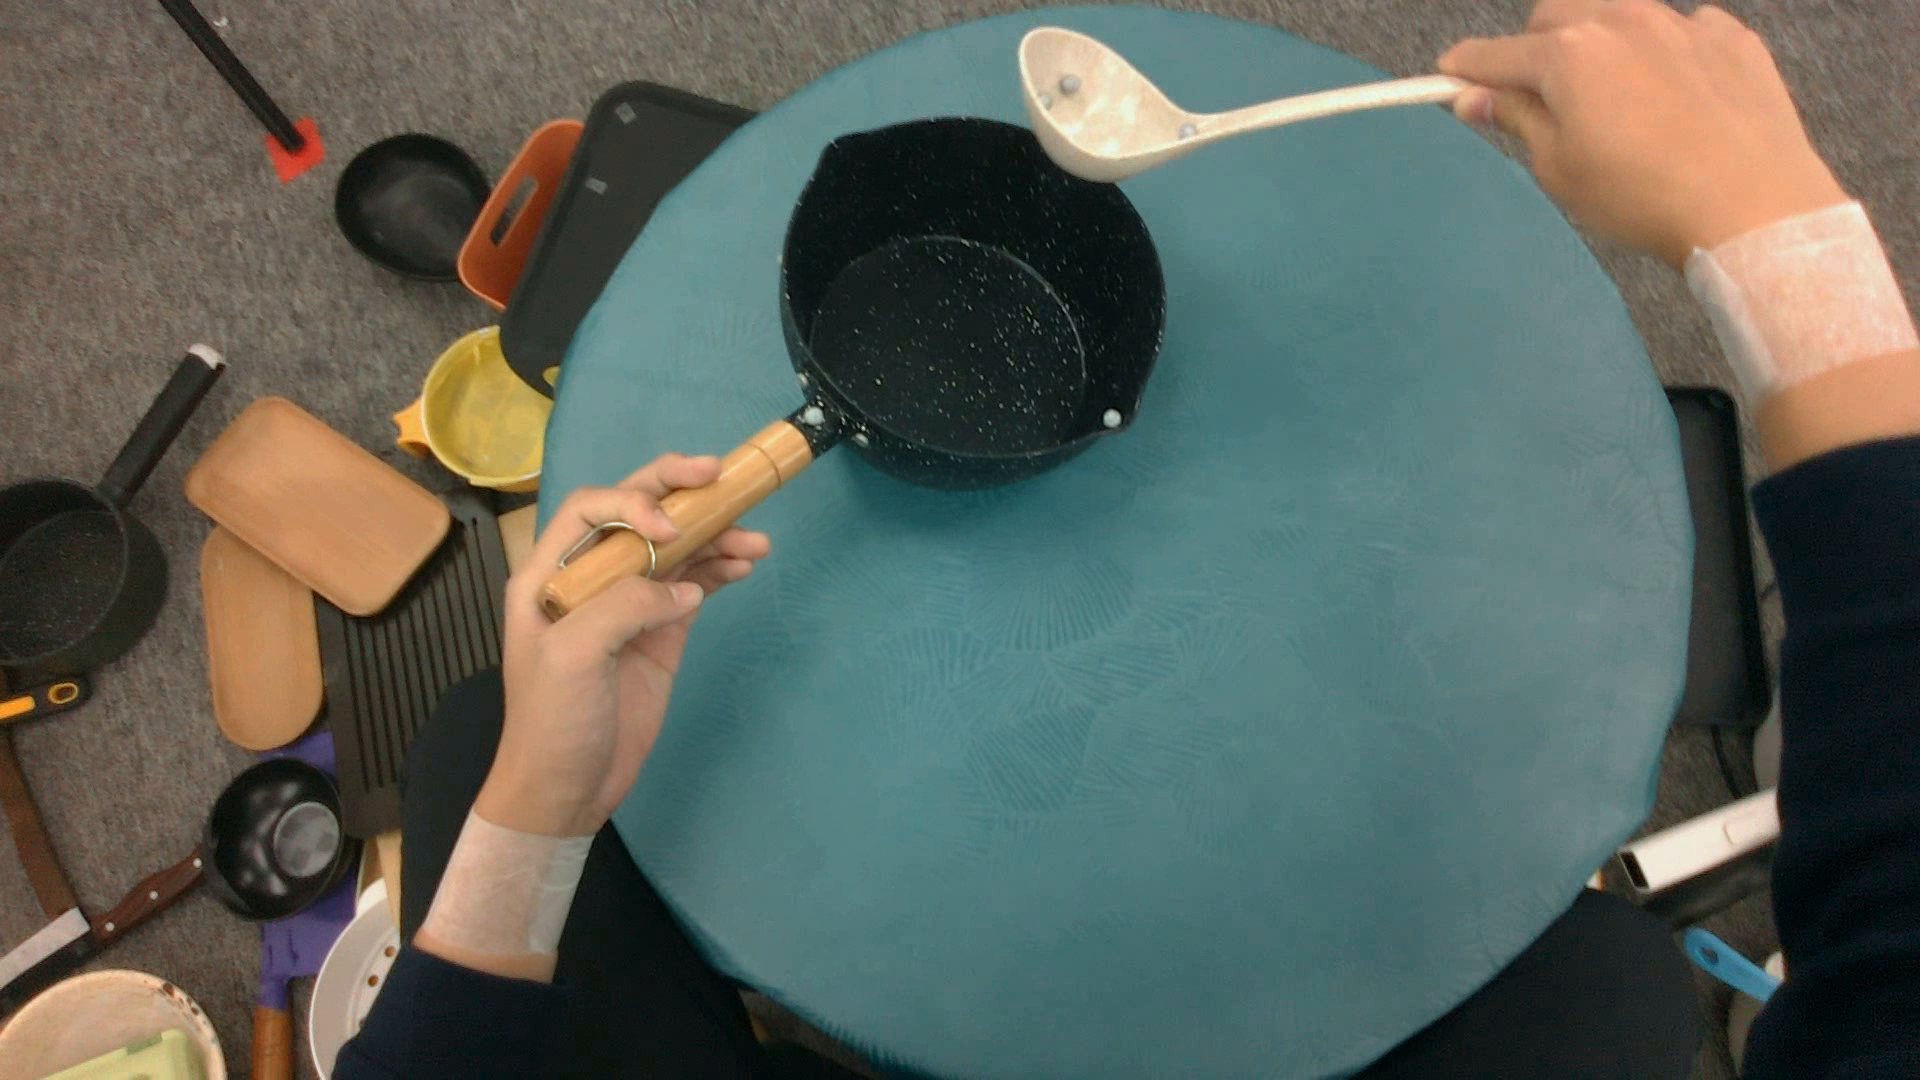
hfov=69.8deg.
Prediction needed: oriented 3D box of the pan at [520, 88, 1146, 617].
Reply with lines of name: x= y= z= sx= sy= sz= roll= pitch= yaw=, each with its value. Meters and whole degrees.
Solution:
pan: x=-0.059 y=-0.070 z=0.639 sx=0.207 sy=0.108 sz=0.344 roll=43 pitch=67 yaw=4

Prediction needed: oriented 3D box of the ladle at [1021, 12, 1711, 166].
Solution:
ladle: x=0.158 y=-0.202 z=0.572 sx=0.274 sy=0.069 sz=0.090 roll=1 pitch=32 yaw=26
